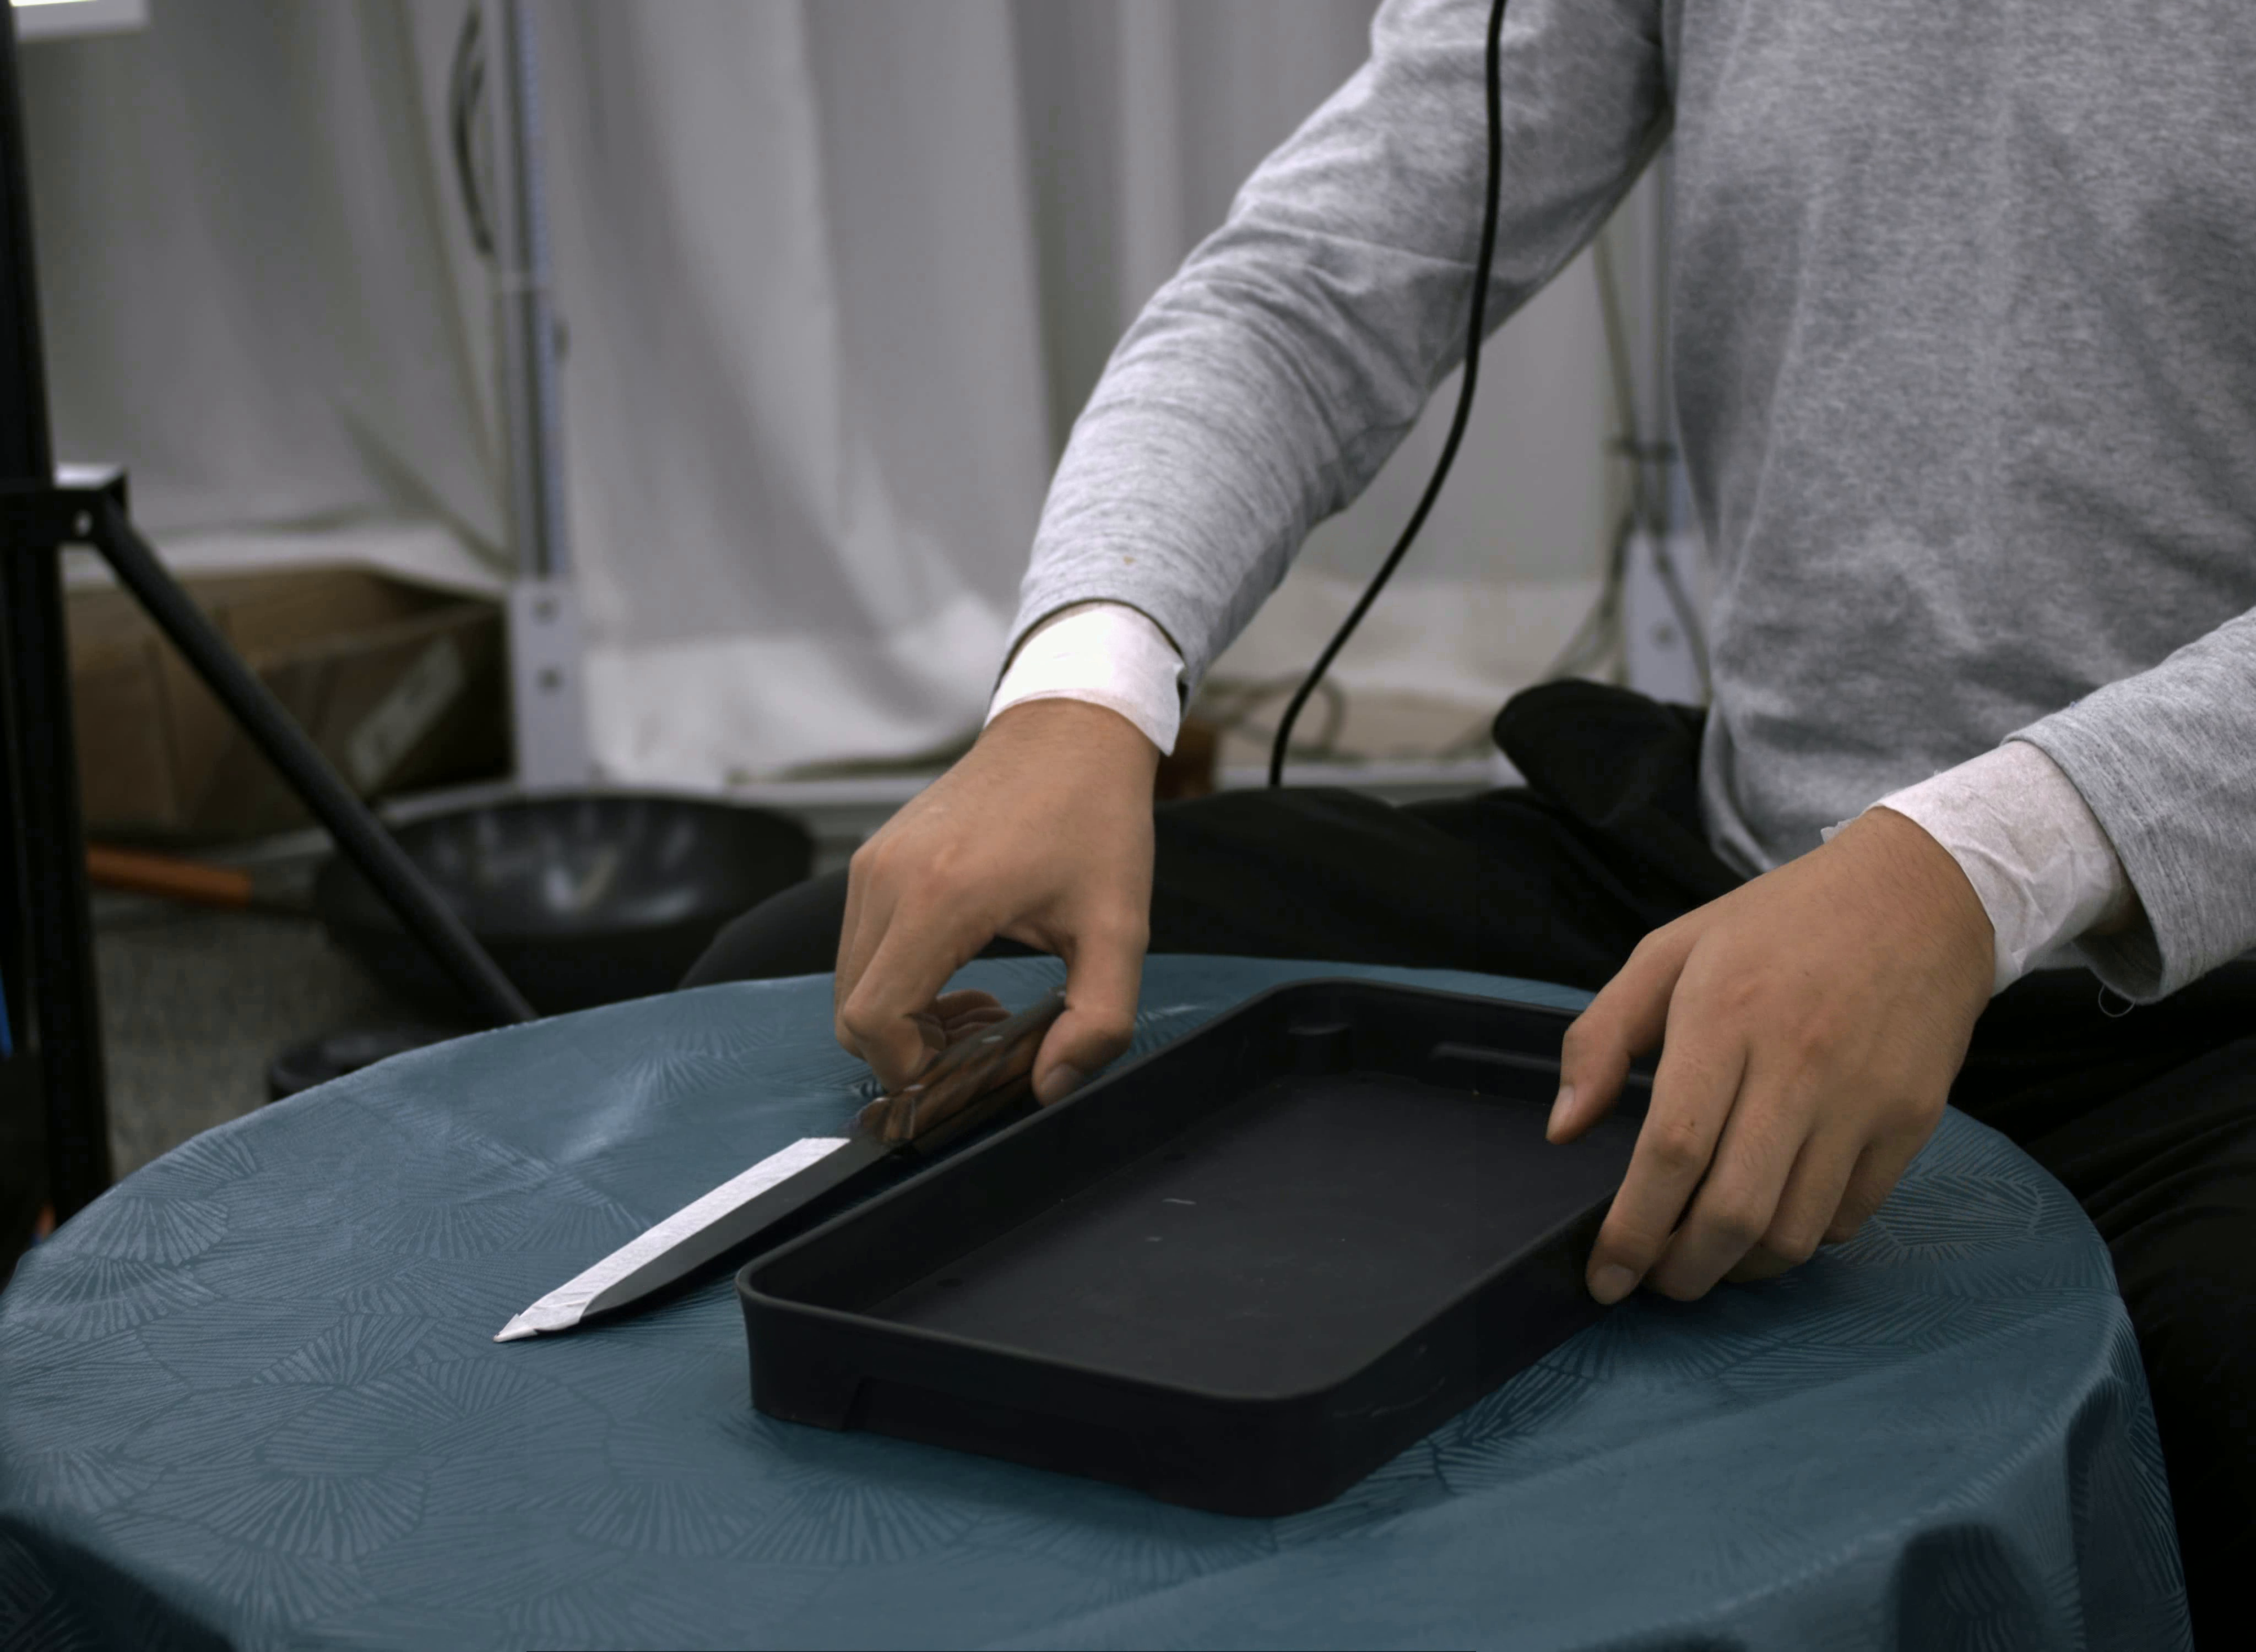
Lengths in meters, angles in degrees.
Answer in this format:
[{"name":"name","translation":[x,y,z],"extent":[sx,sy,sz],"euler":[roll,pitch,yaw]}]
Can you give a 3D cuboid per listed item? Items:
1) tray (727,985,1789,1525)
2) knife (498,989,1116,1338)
[{"name":"tray","translation":[0.044,0.112,1.478],"extent":[0.187,0.037,0.312],"euler":[7,18,30]},{"name":"knife","translation":[-0.089,0.100,1.573],"extent":[0.051,0.020,0.283],"euler":[-5,14,37]}]
